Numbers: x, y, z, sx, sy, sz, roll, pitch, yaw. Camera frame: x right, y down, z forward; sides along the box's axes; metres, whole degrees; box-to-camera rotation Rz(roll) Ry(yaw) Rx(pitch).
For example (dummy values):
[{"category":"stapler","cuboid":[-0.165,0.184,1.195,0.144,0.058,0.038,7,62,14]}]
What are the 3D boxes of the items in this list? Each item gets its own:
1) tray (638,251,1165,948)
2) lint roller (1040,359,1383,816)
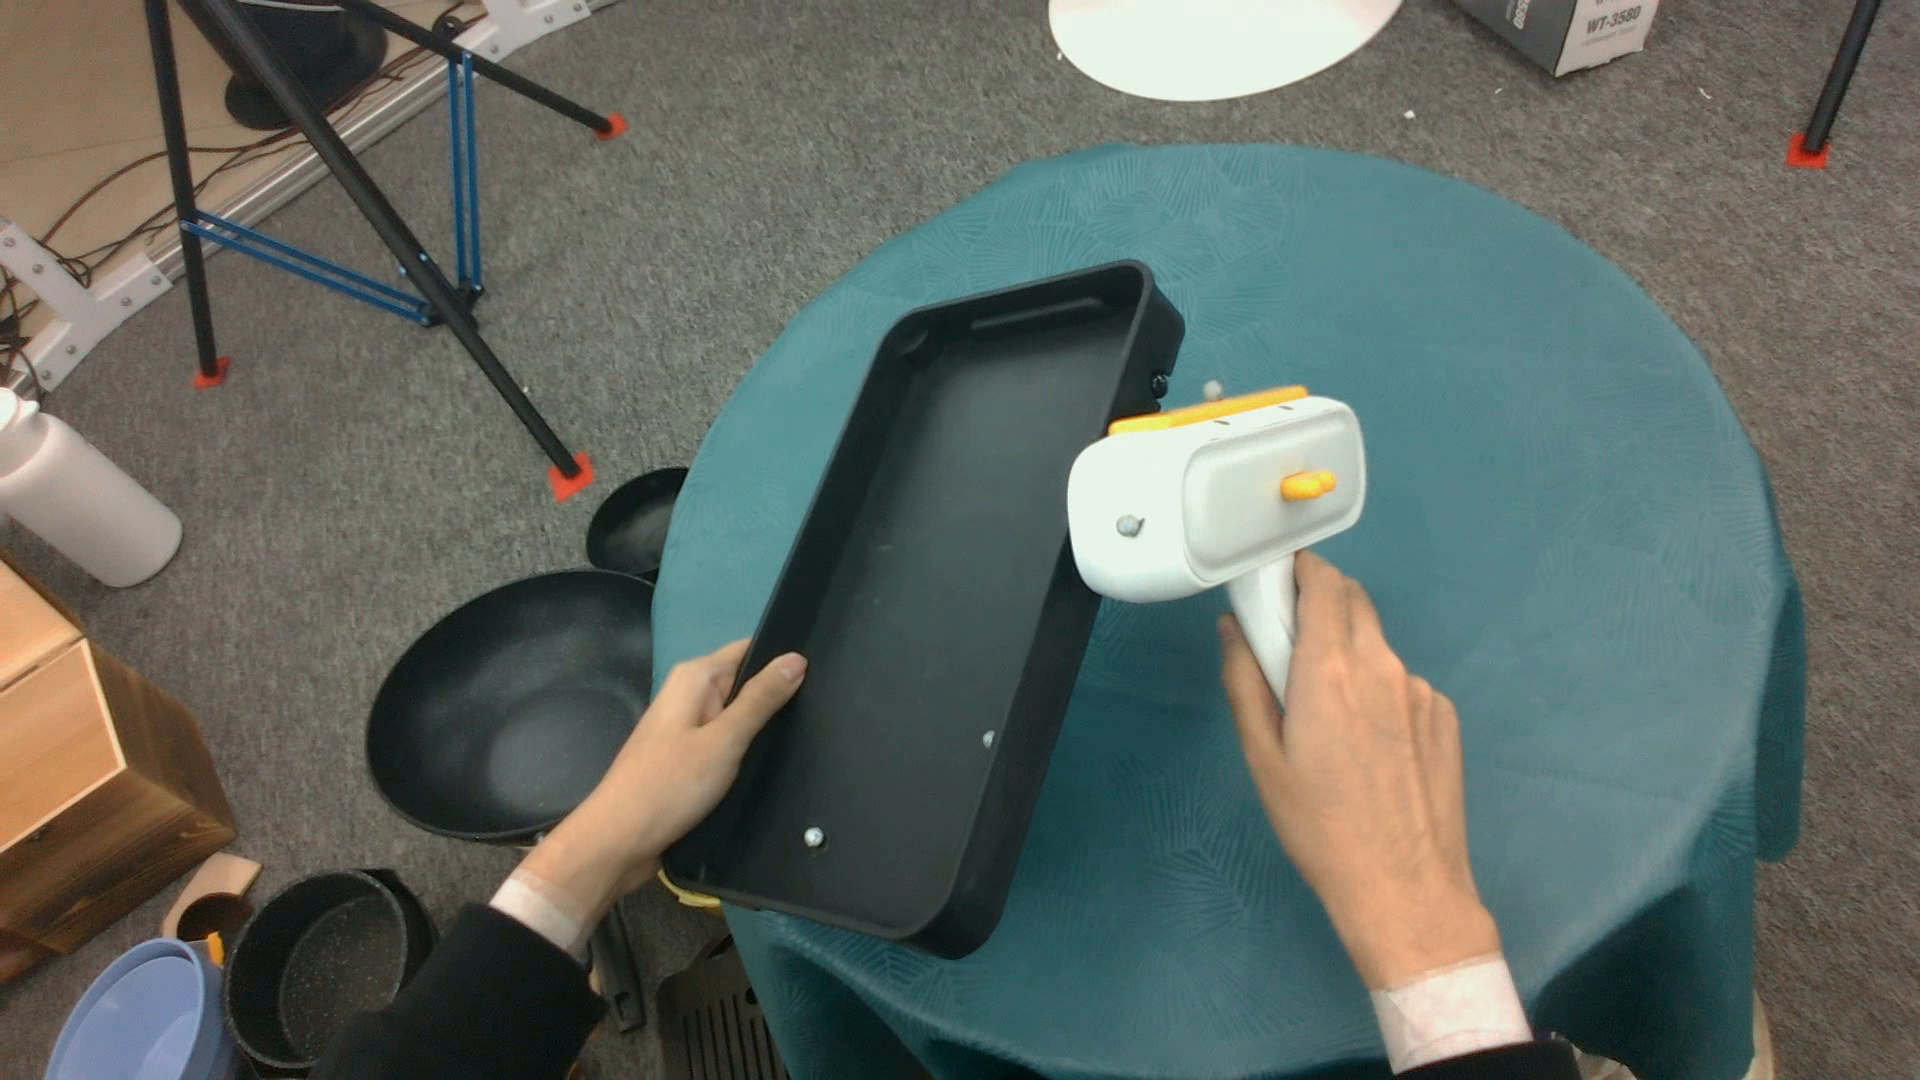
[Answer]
[{"category":"tray","cuboid":[-0.023,0.016,0.624,0.184,0.037,0.319,-4,57,43]},{"category":"lint roller","cuboid":[0.121,0.025,0.574,0.074,0.192,0.193,-14,6,34]}]
